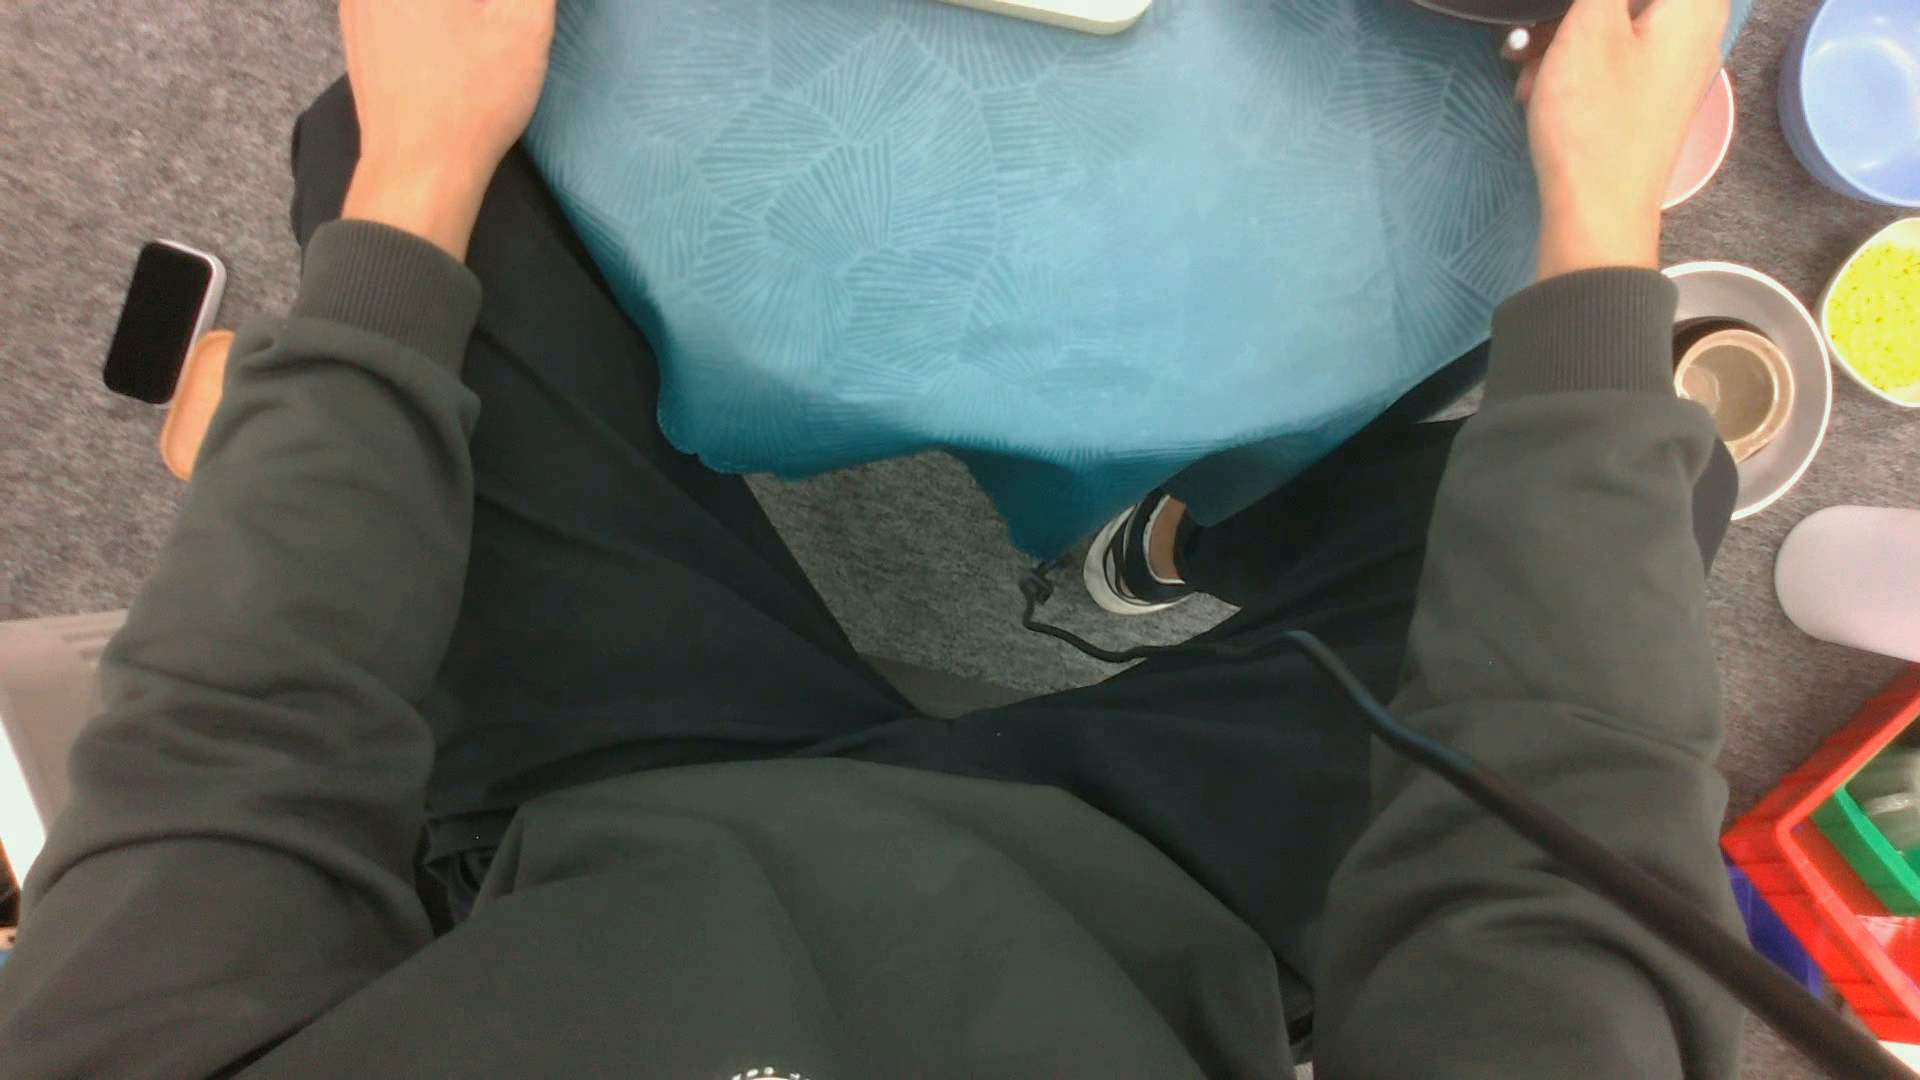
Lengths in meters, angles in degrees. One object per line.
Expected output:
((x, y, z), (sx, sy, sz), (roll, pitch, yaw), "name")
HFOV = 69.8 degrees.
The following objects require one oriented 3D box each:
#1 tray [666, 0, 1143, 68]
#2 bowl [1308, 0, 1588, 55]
((-0.059, -0.322, 0.596), (0.300, 0.027, 0.191), (9, 93, -1), "tray")
((0.190, -0.272, 0.583), (0.170, 0.067, 0.137), (29, 91, 0), "bowl")
